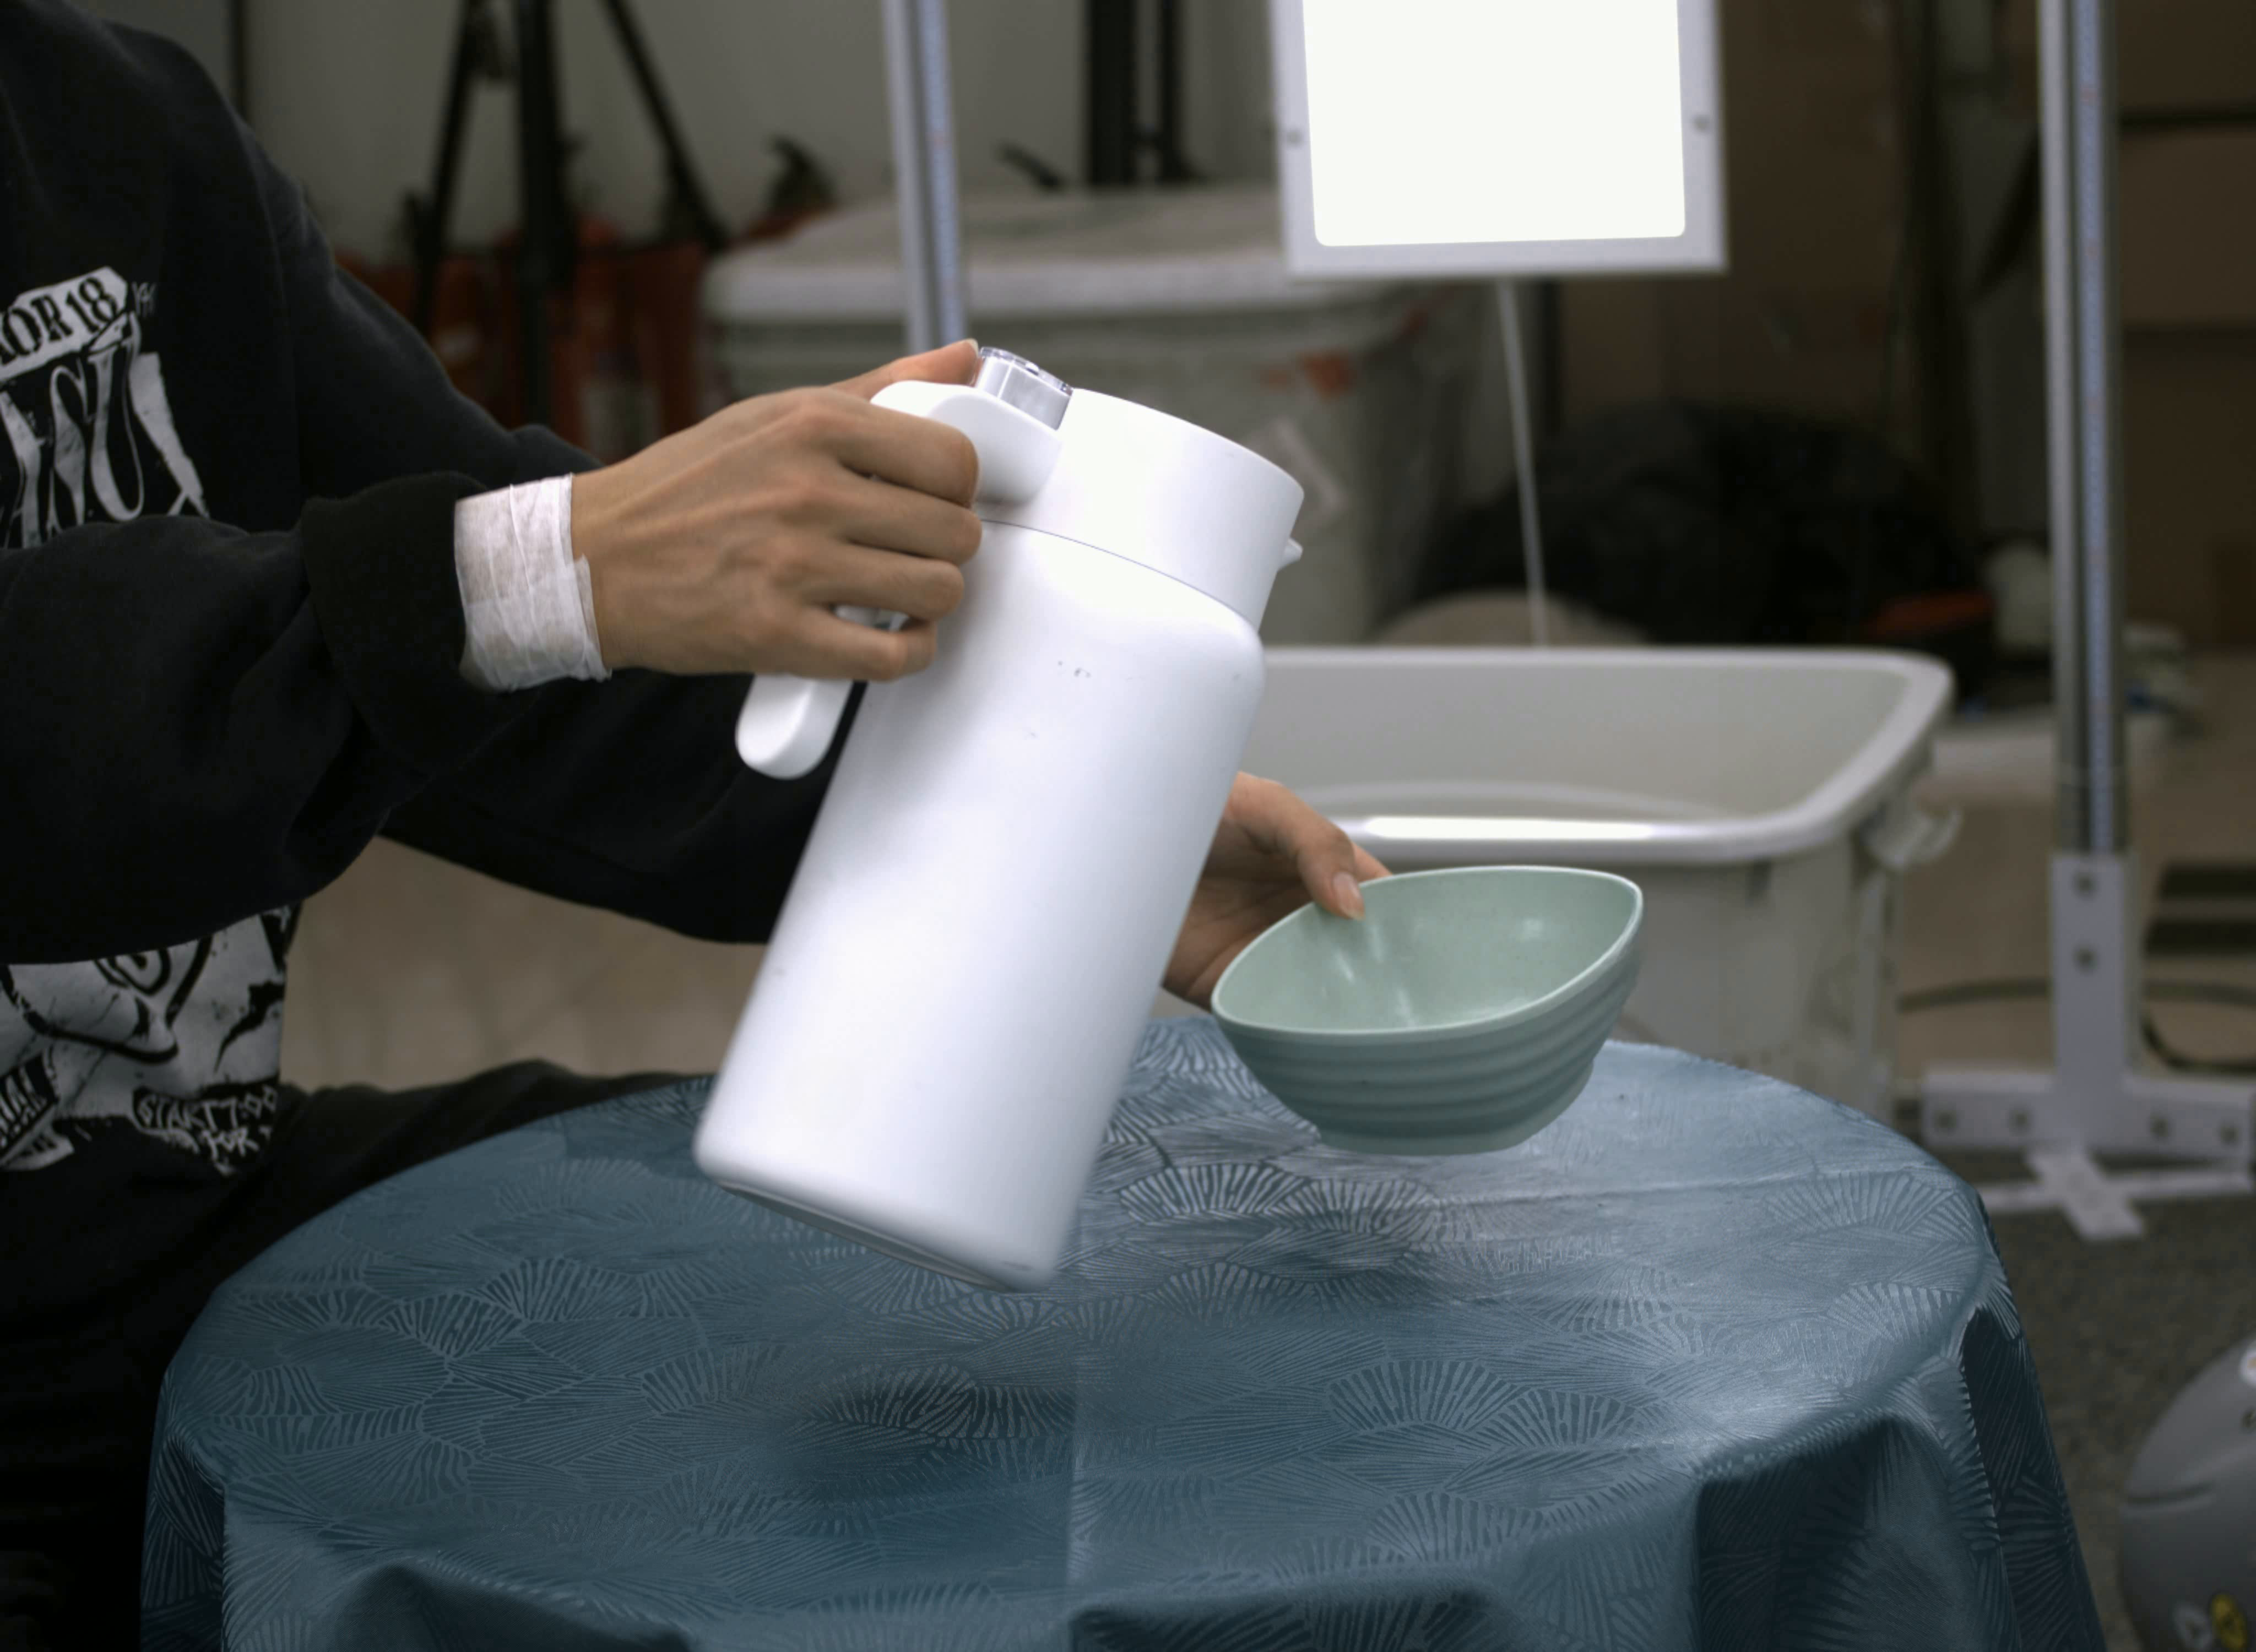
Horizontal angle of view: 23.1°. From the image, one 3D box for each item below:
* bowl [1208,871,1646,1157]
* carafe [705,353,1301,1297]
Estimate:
[{"bbox_3d":[0.104,0.067,1.829,0.151,0.059,0.151,-11,19,2],"label":"bowl"},{"bbox_3d":[-0.045,-0.002,1.683,0.169,0.269,0.126,25,-7,-40],"label":"carafe"}]
